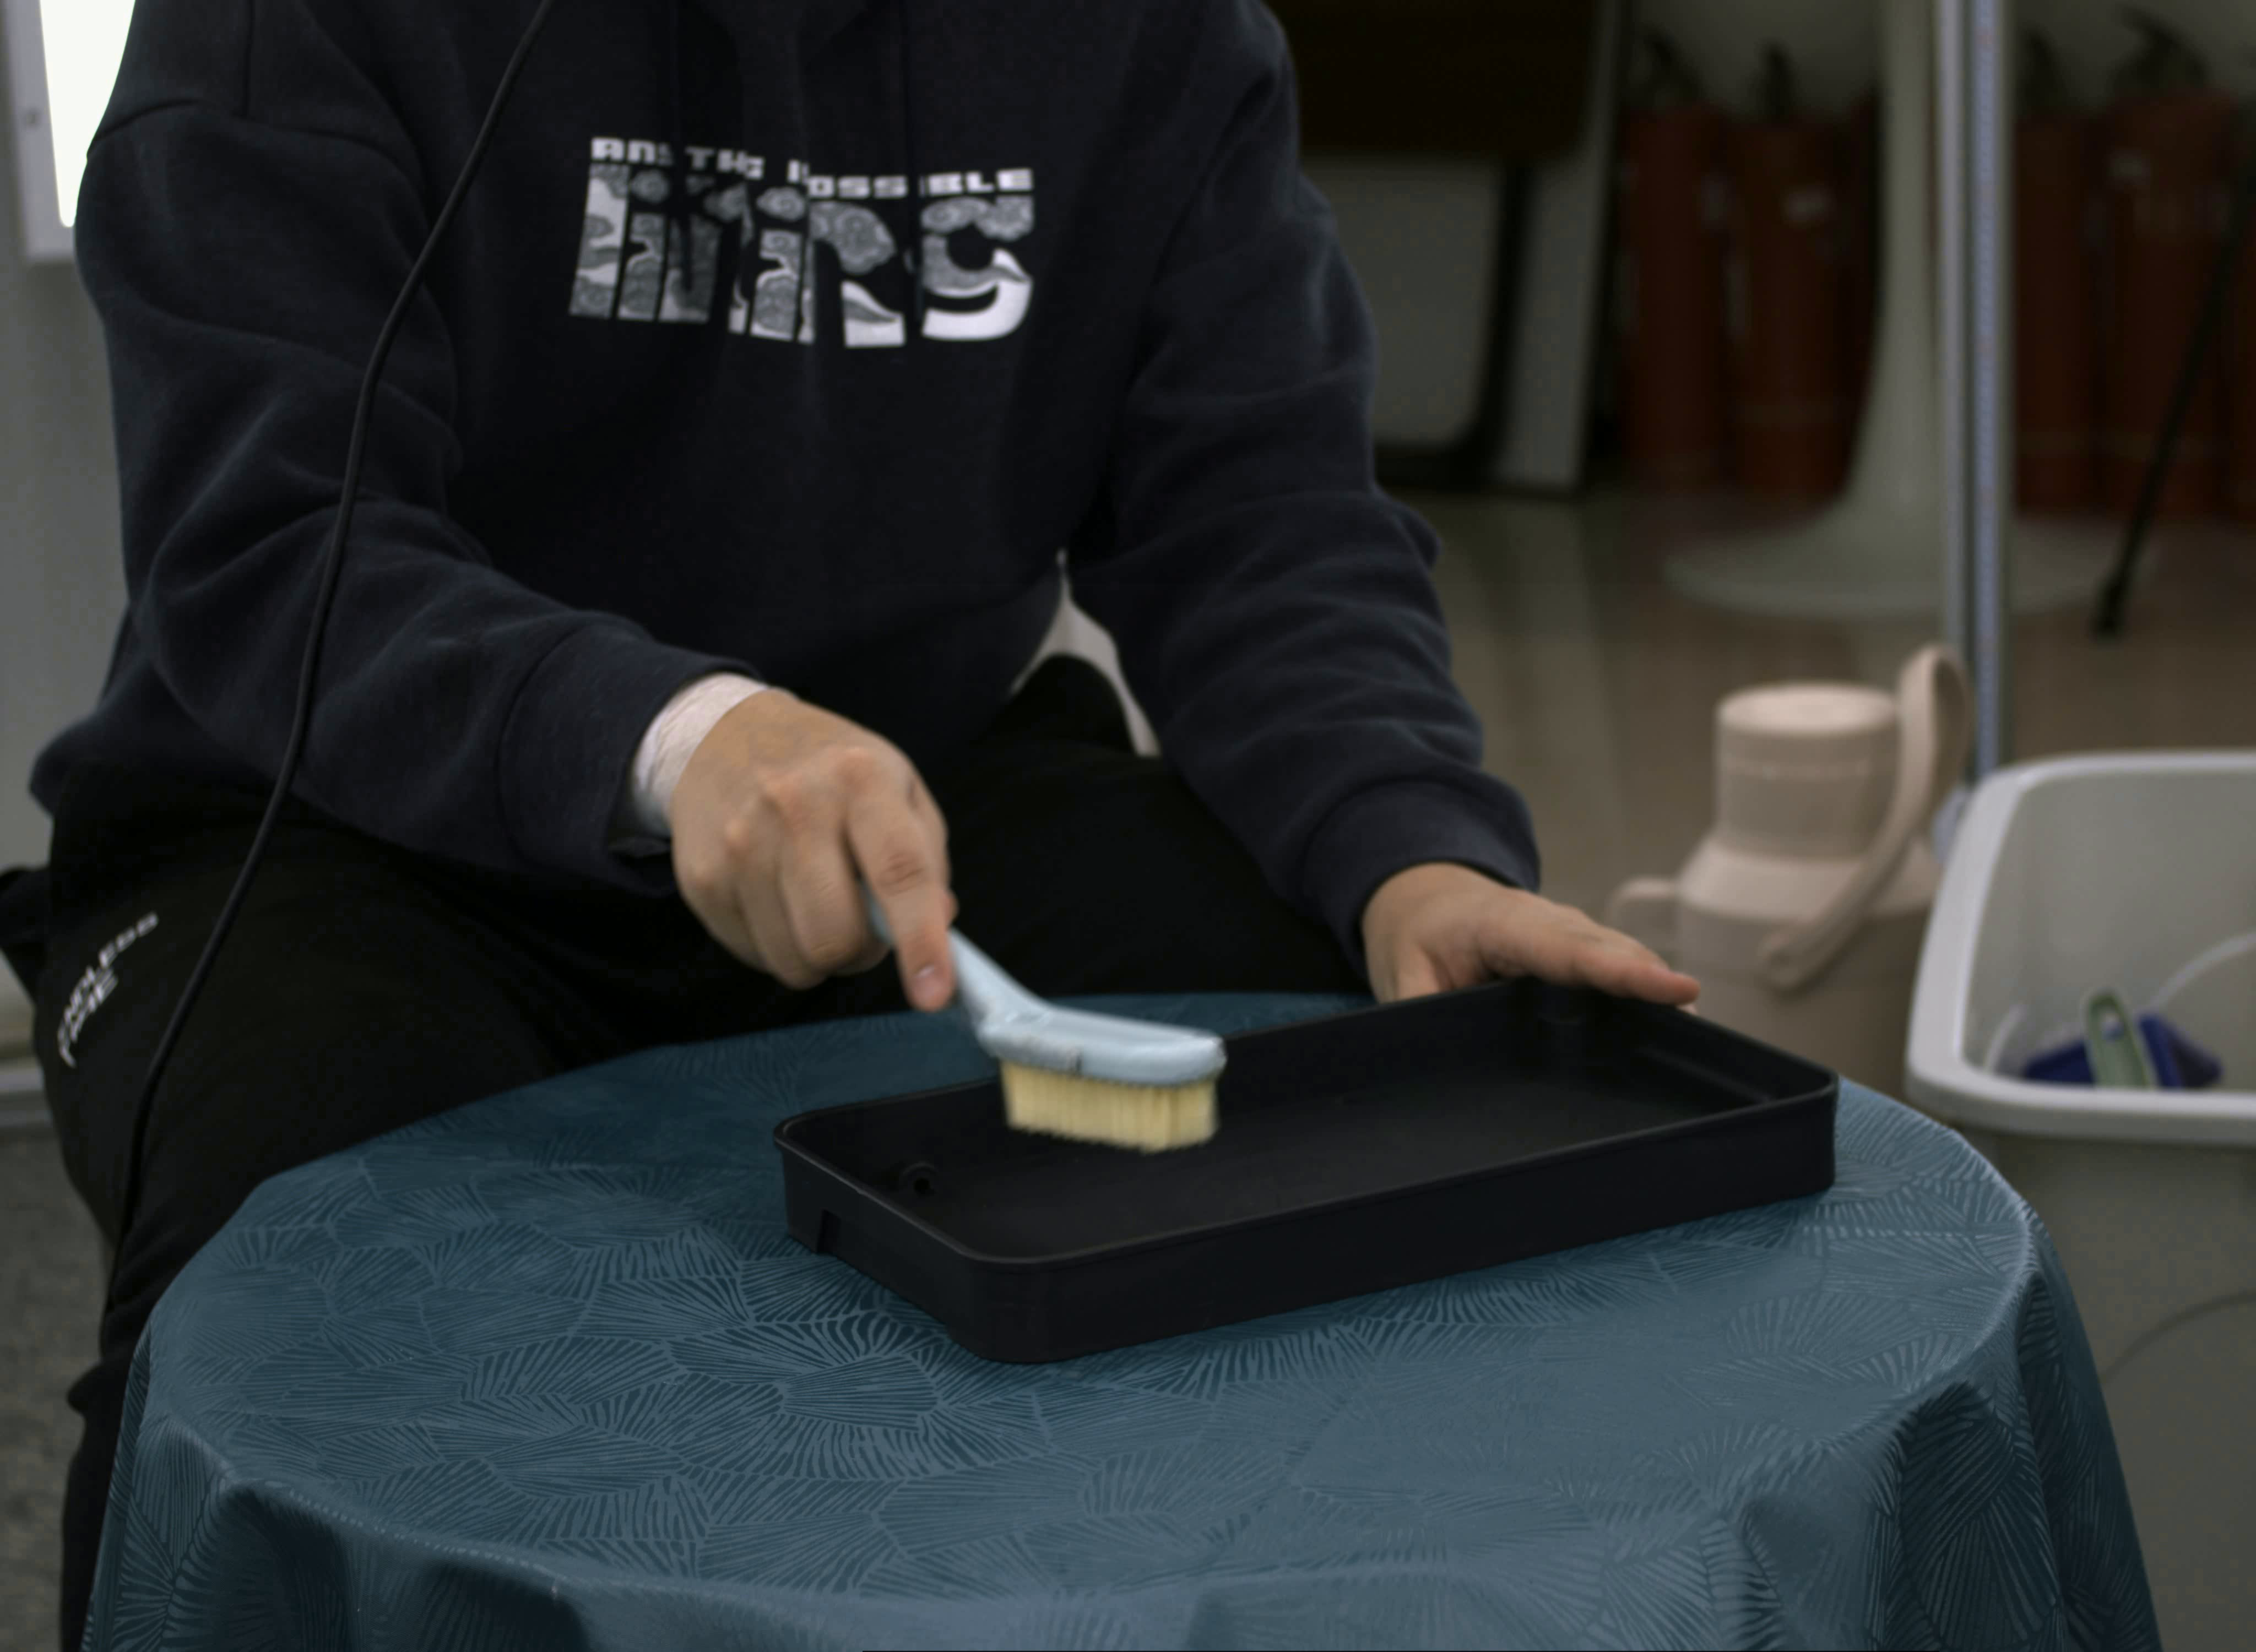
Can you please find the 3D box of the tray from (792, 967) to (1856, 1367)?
[{"bbox_3d":[0.065,0.105,1.745,0.311,0.037,0.186,-11,15,-26],"label":"tray"}]

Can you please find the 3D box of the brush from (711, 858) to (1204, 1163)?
[{"bbox_3d":[-0.059,0.059,1.728,0.037,0.050,0.231,-9,24,-41],"label":"brush"}]
